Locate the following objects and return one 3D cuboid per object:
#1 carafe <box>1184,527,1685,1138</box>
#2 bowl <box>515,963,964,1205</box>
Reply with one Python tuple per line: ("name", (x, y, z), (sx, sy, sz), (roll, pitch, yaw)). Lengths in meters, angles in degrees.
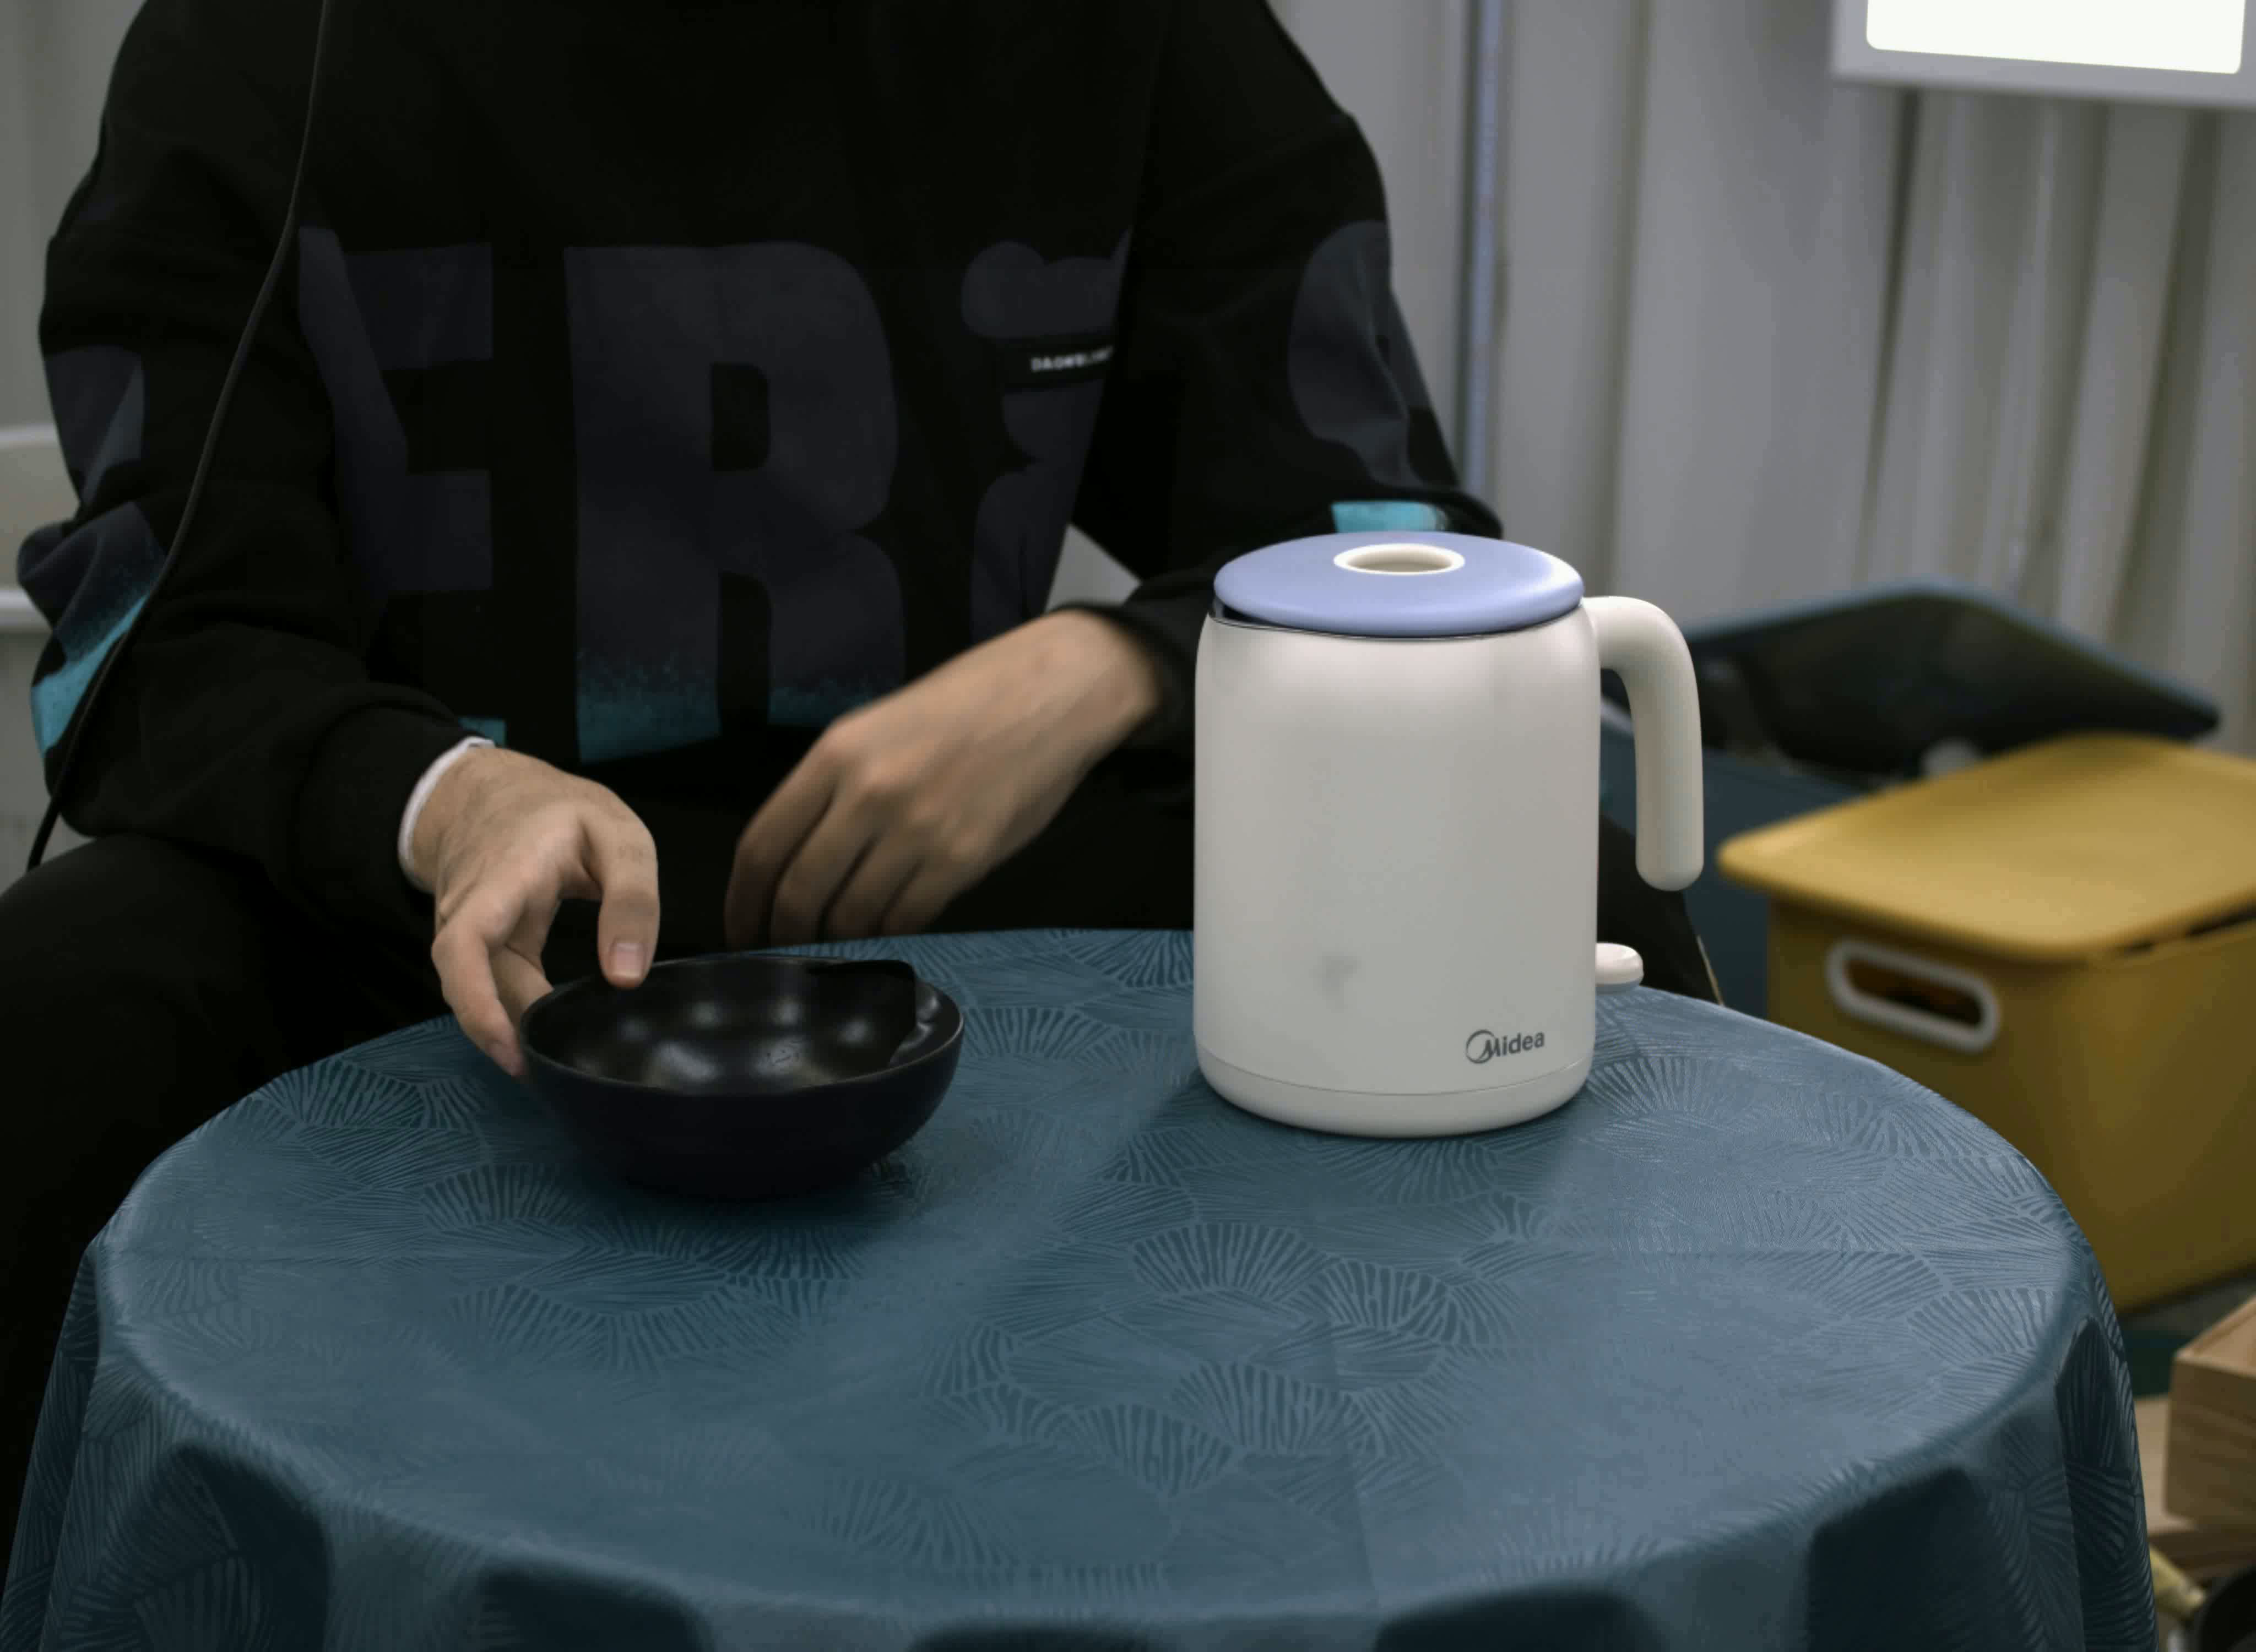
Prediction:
("carafe", (0.106, -0.001, 1.713), (0.192, 0.184, 0.130), (-7, 19, -32))
("bowl", (-0.119, 0.083, 1.630), (0.139, 0.050, 0.139), (-1, 13, 1))
